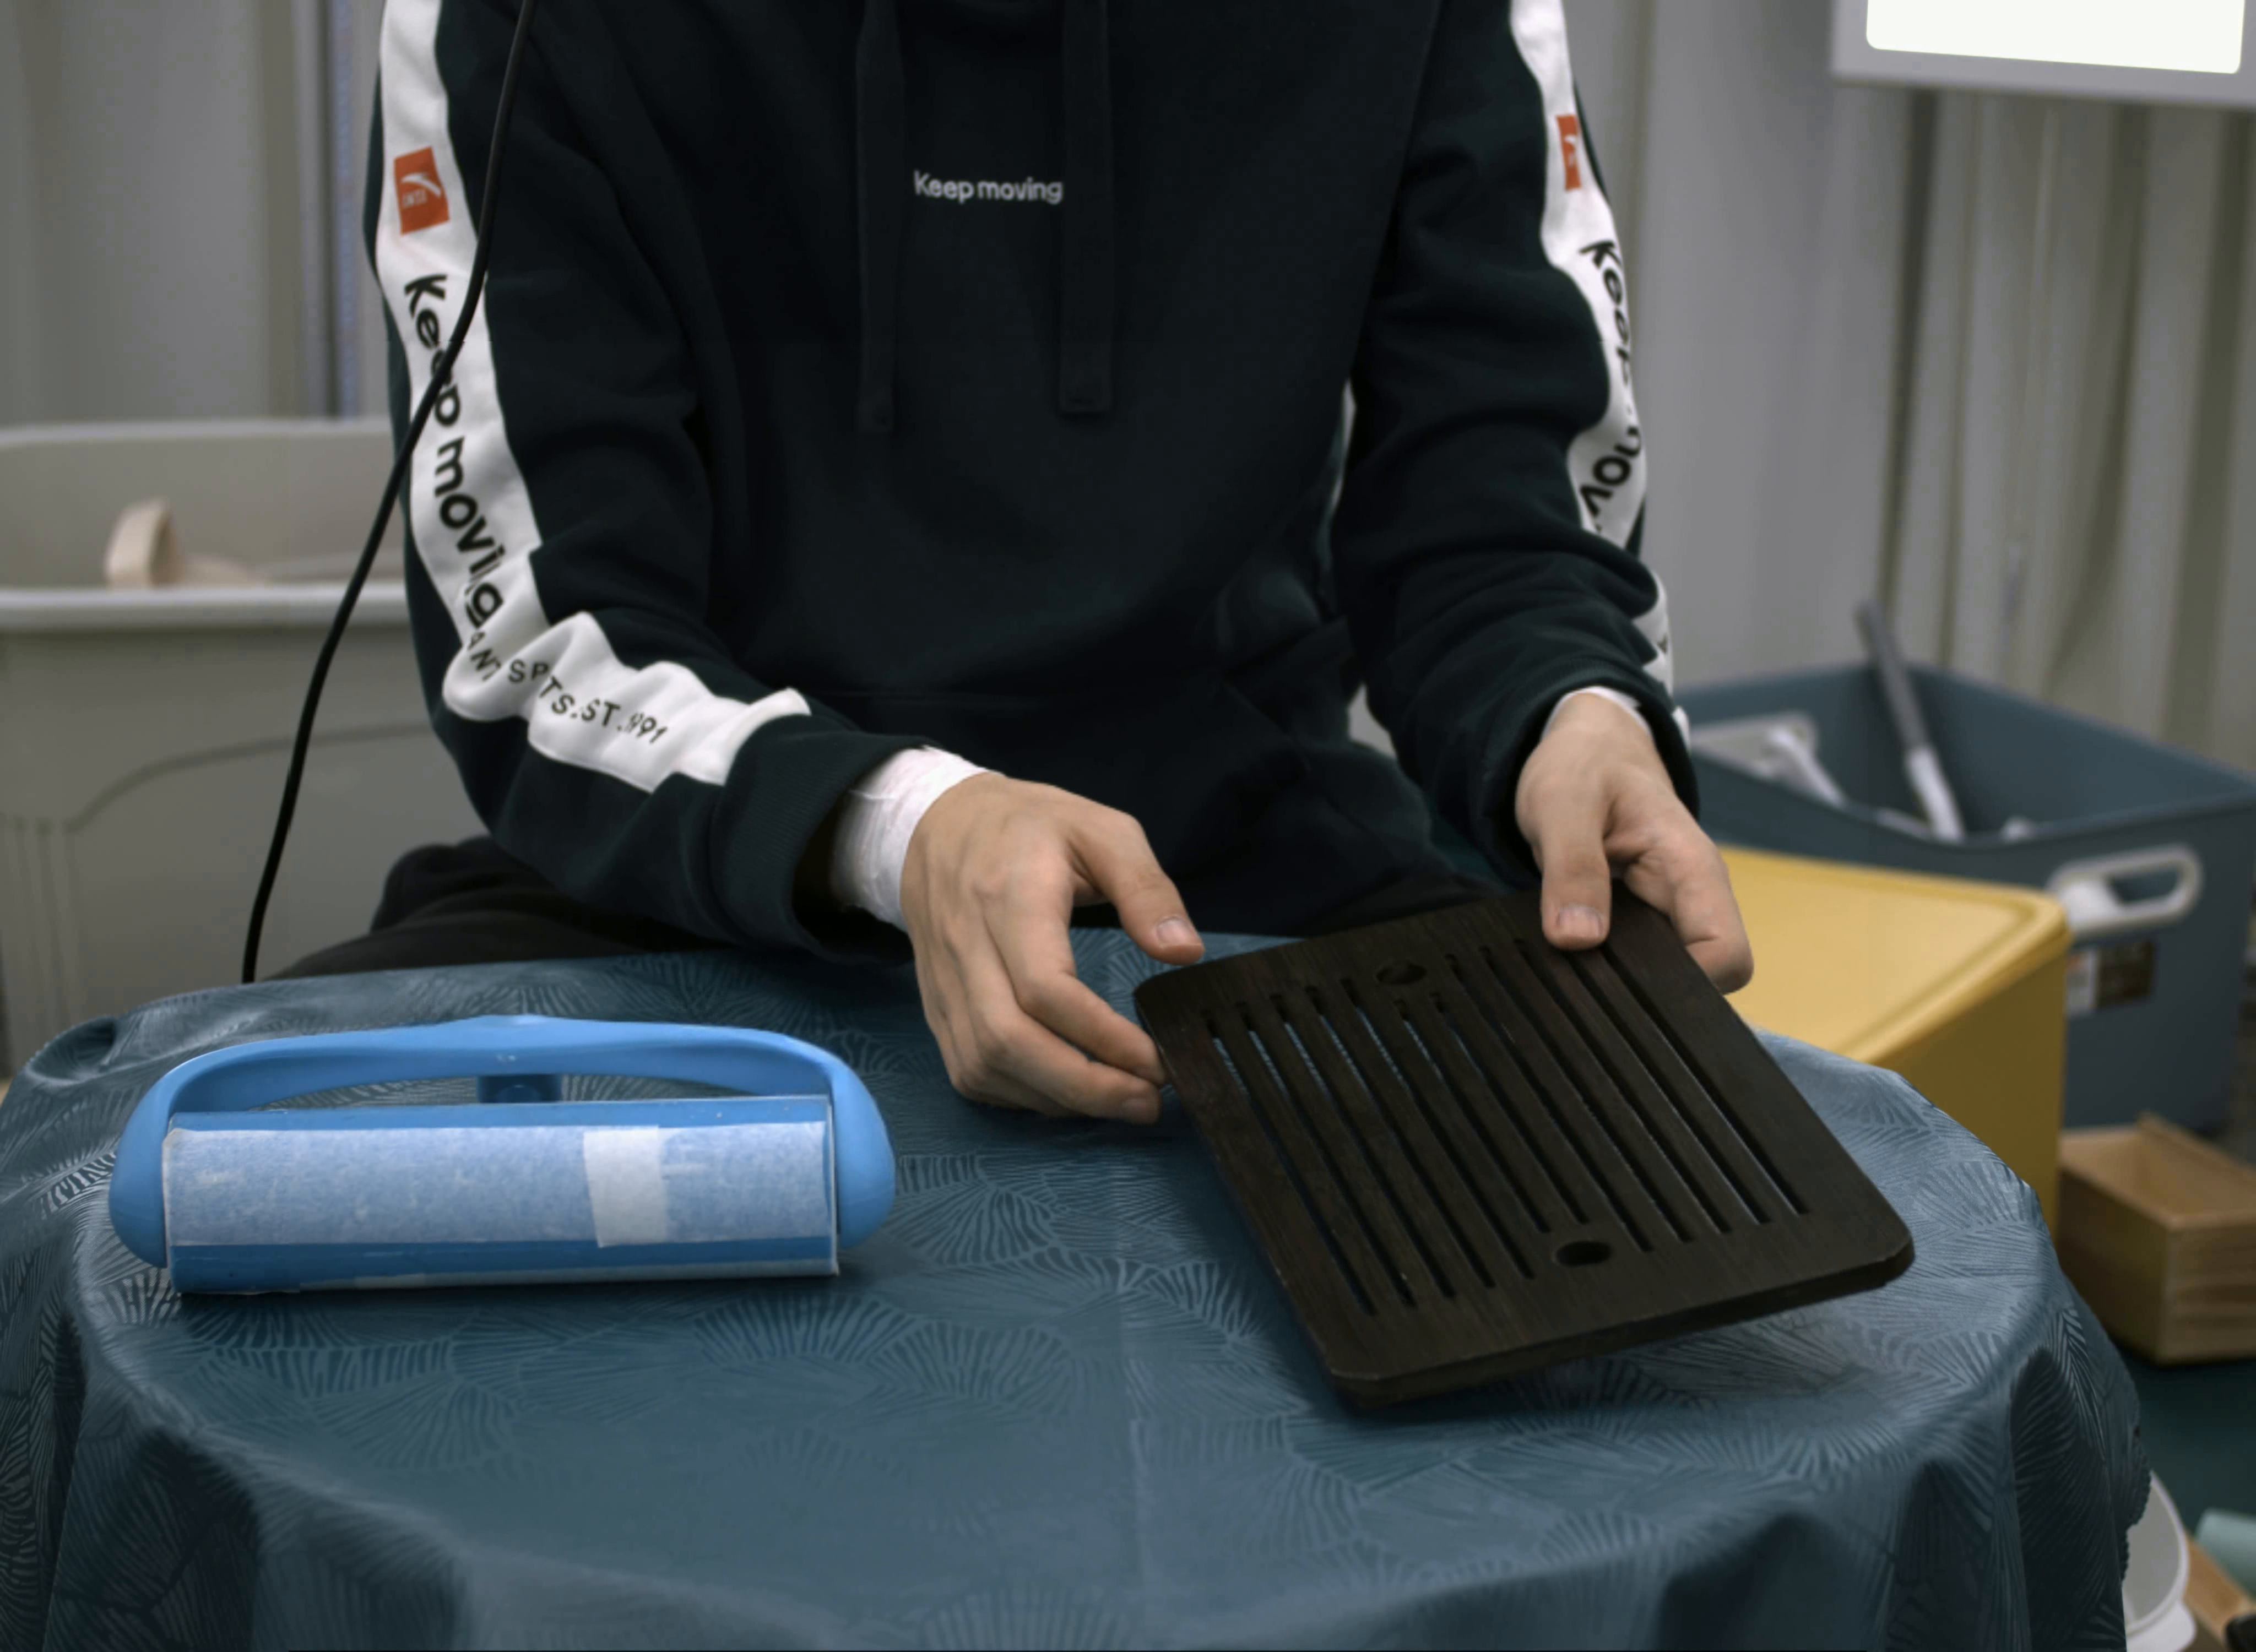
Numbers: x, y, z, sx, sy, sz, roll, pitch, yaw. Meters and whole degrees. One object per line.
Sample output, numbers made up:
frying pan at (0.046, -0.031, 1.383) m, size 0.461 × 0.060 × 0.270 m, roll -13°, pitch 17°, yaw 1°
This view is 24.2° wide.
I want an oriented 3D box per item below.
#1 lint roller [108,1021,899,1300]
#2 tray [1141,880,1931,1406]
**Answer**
lint roller at (-0.188, 0.089, 1.587) m, size 0.229 × 0.068 × 0.179 m, roll -4°, pitch 17°, yaw -7°
tray at (0.114, 0.090, 1.581) m, size 0.170 × 0.019 × 0.303 m, roll -12°, pitch 22°, yaw -8°
